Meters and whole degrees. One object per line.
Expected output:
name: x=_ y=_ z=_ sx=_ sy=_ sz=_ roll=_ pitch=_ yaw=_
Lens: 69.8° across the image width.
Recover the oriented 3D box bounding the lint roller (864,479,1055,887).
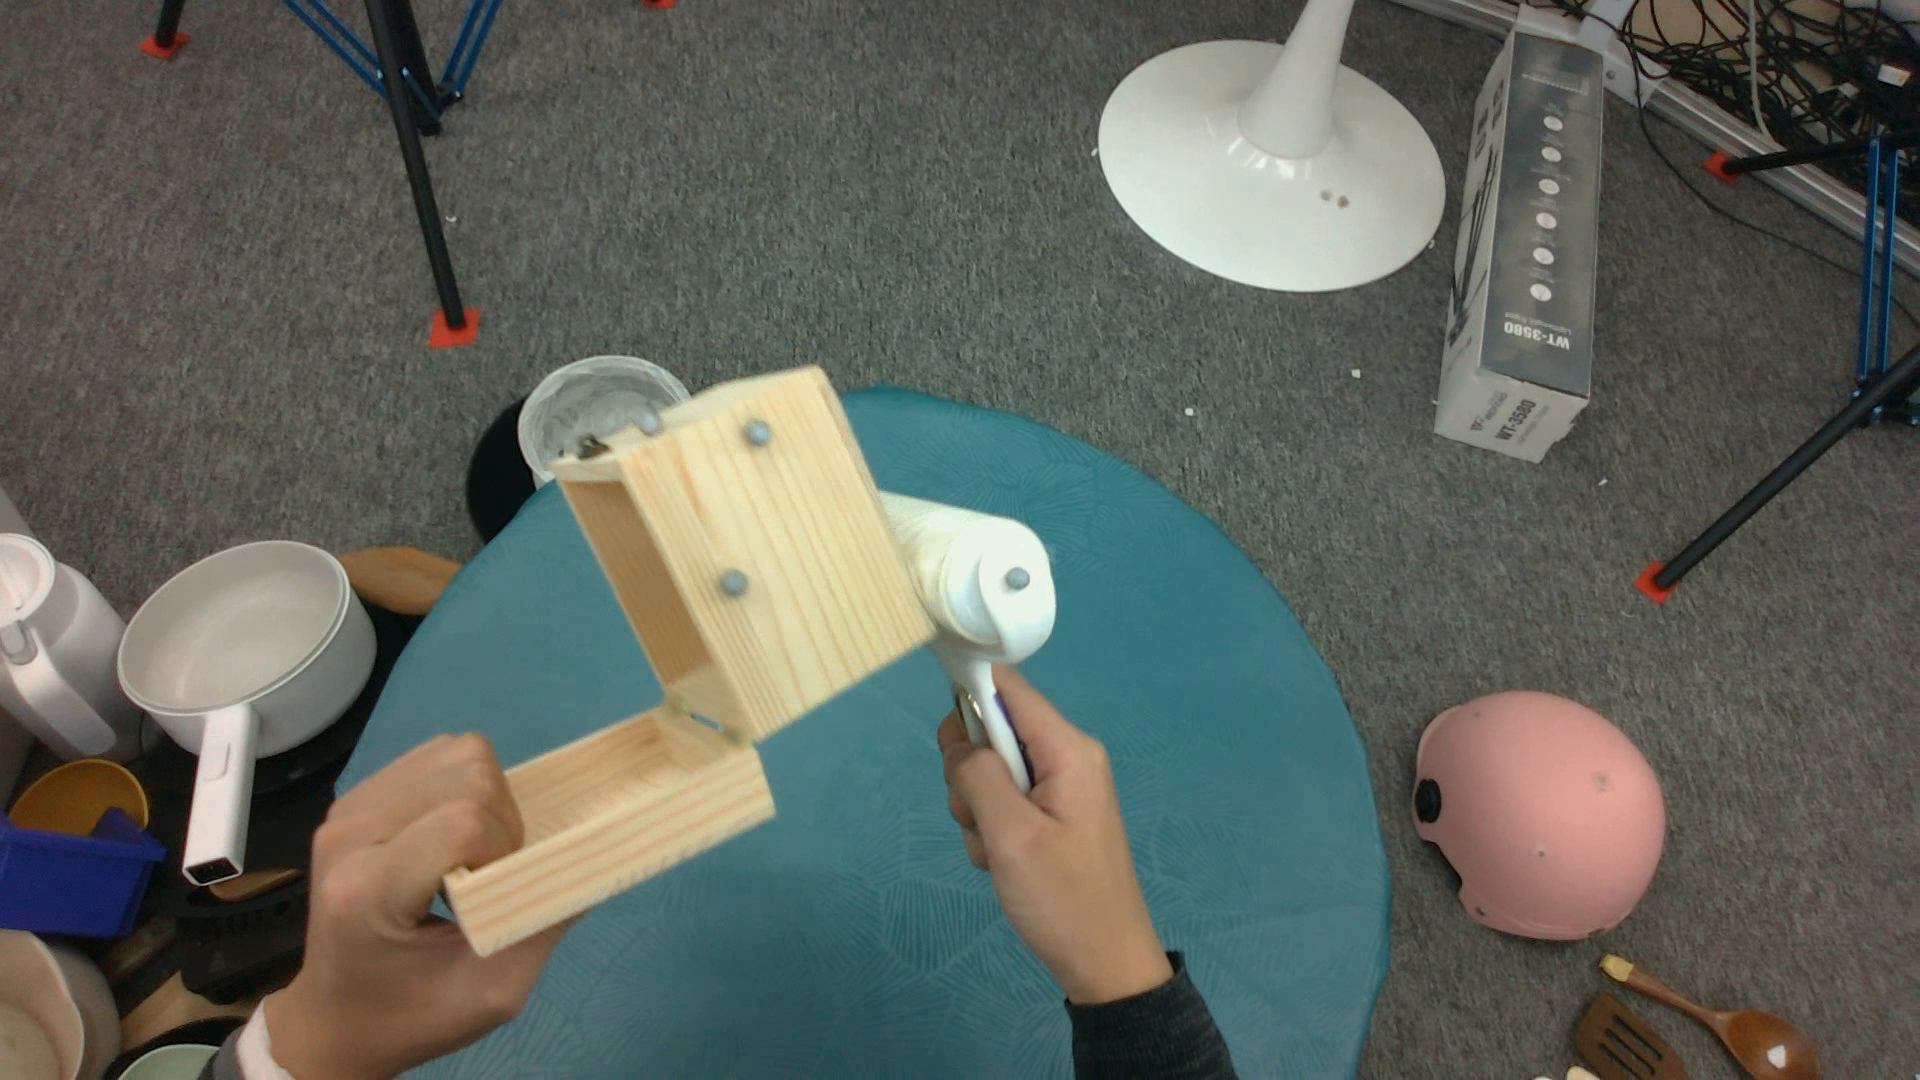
lint roller: x=0.012 y=0.059 z=0.552 sx=0.050 sy=0.132 sz=0.180 roll=-36 pitch=113 yaw=-24

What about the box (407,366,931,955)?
box: x=-0.120 y=0.031 z=0.485 sx=0.185 sy=0.102 sz=0.133 roll=-29 pitch=105 yaw=-25
